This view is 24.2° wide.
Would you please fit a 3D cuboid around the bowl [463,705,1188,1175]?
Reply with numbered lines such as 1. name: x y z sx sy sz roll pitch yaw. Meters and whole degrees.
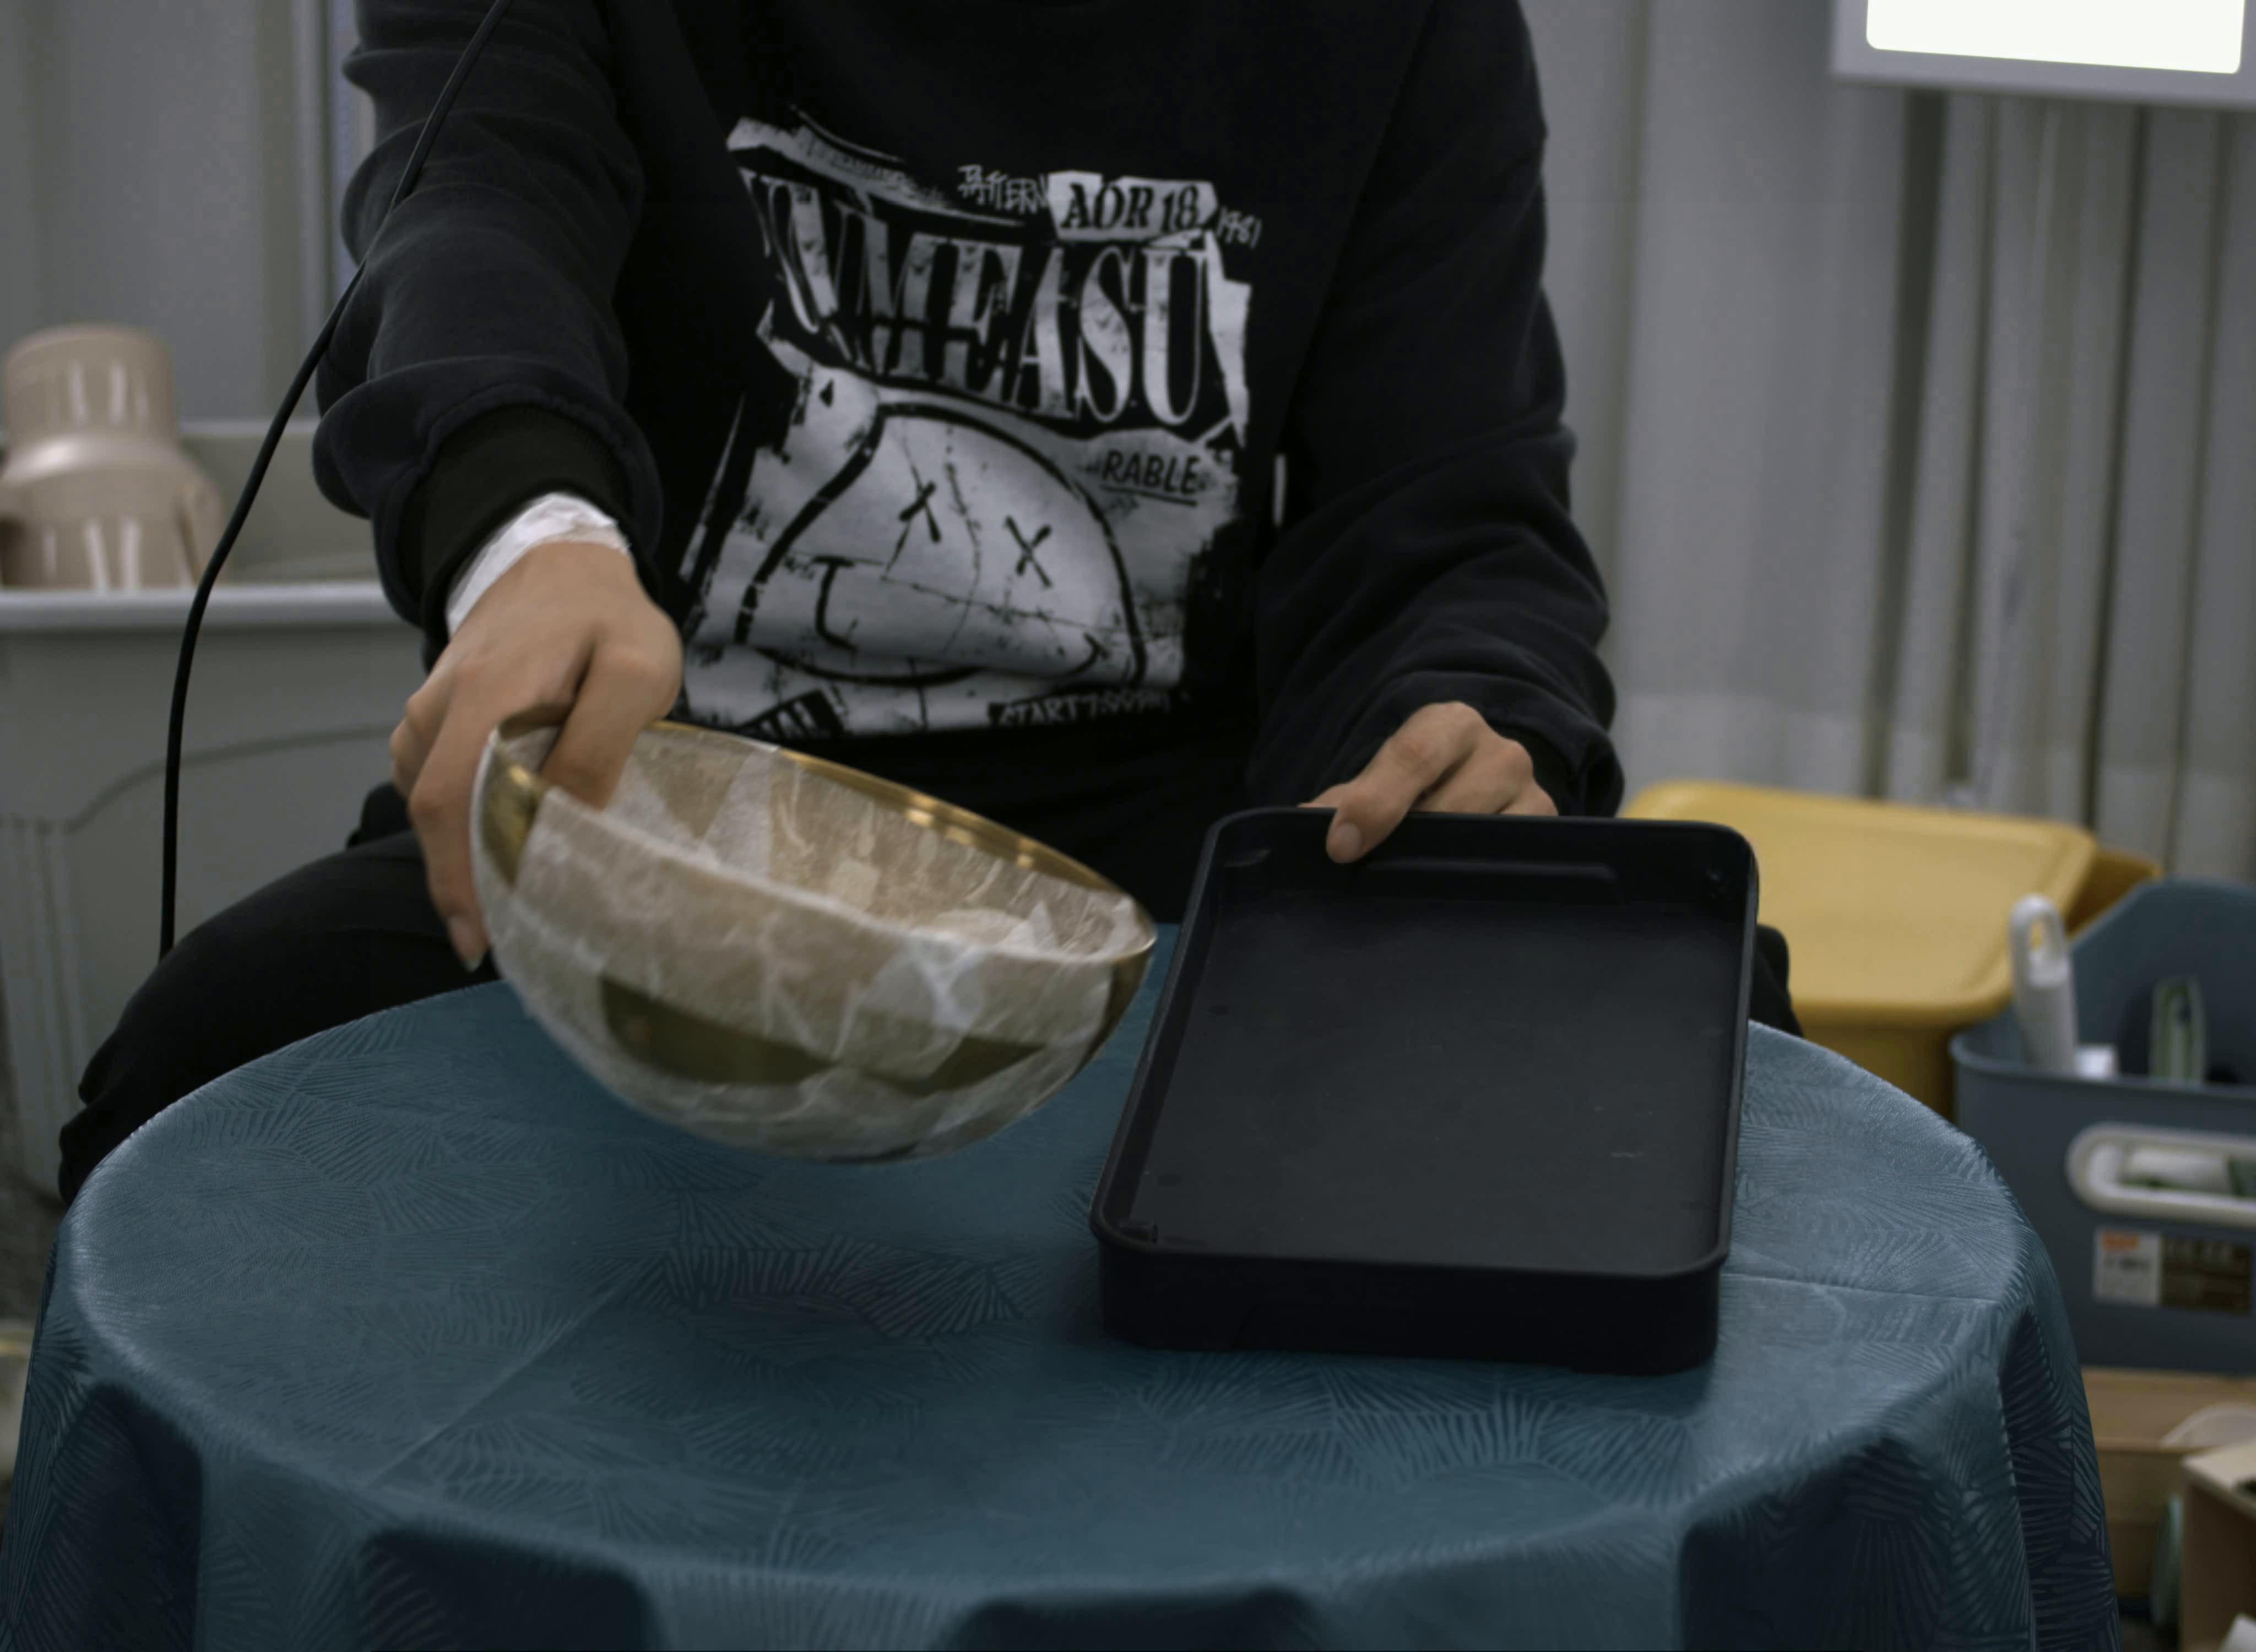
1. bowl: -0.099 0.044 1.503 0.214 0.095 0.214 17 11 -3

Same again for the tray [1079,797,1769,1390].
1. tray: 0.098 0.075 1.621 0.183 0.037 0.316 4 25 8
